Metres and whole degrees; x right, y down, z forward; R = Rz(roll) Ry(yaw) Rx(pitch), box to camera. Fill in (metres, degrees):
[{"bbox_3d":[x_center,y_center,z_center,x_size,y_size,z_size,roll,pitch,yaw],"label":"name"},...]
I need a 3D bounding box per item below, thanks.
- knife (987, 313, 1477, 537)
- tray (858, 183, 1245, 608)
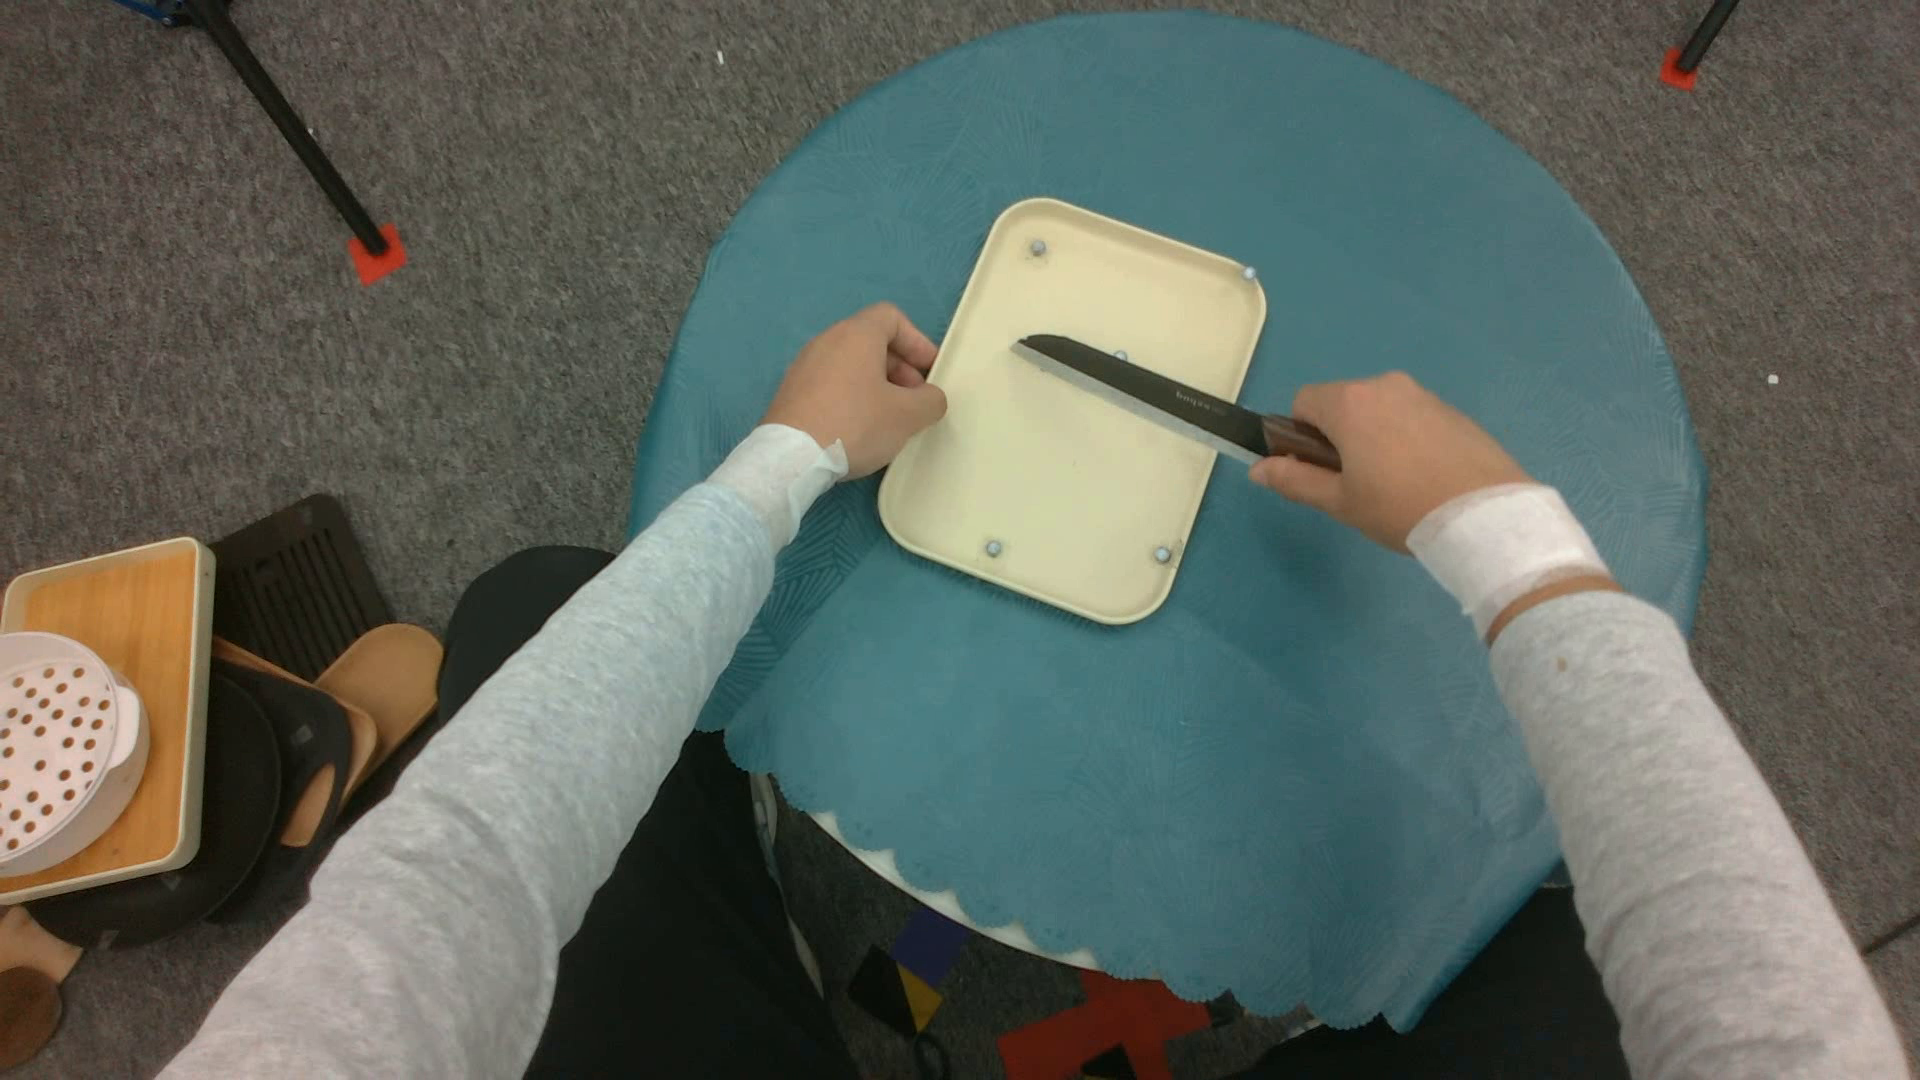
[{"bbox_3d":[0.134,-0.067,0.737,0.289,0.050,0.020,26,60,25],"label":"knife"},{"bbox_3d":[0.055,-0.087,0.787,0.171,0.017,0.240,20,71,5],"label":"tray"}]
